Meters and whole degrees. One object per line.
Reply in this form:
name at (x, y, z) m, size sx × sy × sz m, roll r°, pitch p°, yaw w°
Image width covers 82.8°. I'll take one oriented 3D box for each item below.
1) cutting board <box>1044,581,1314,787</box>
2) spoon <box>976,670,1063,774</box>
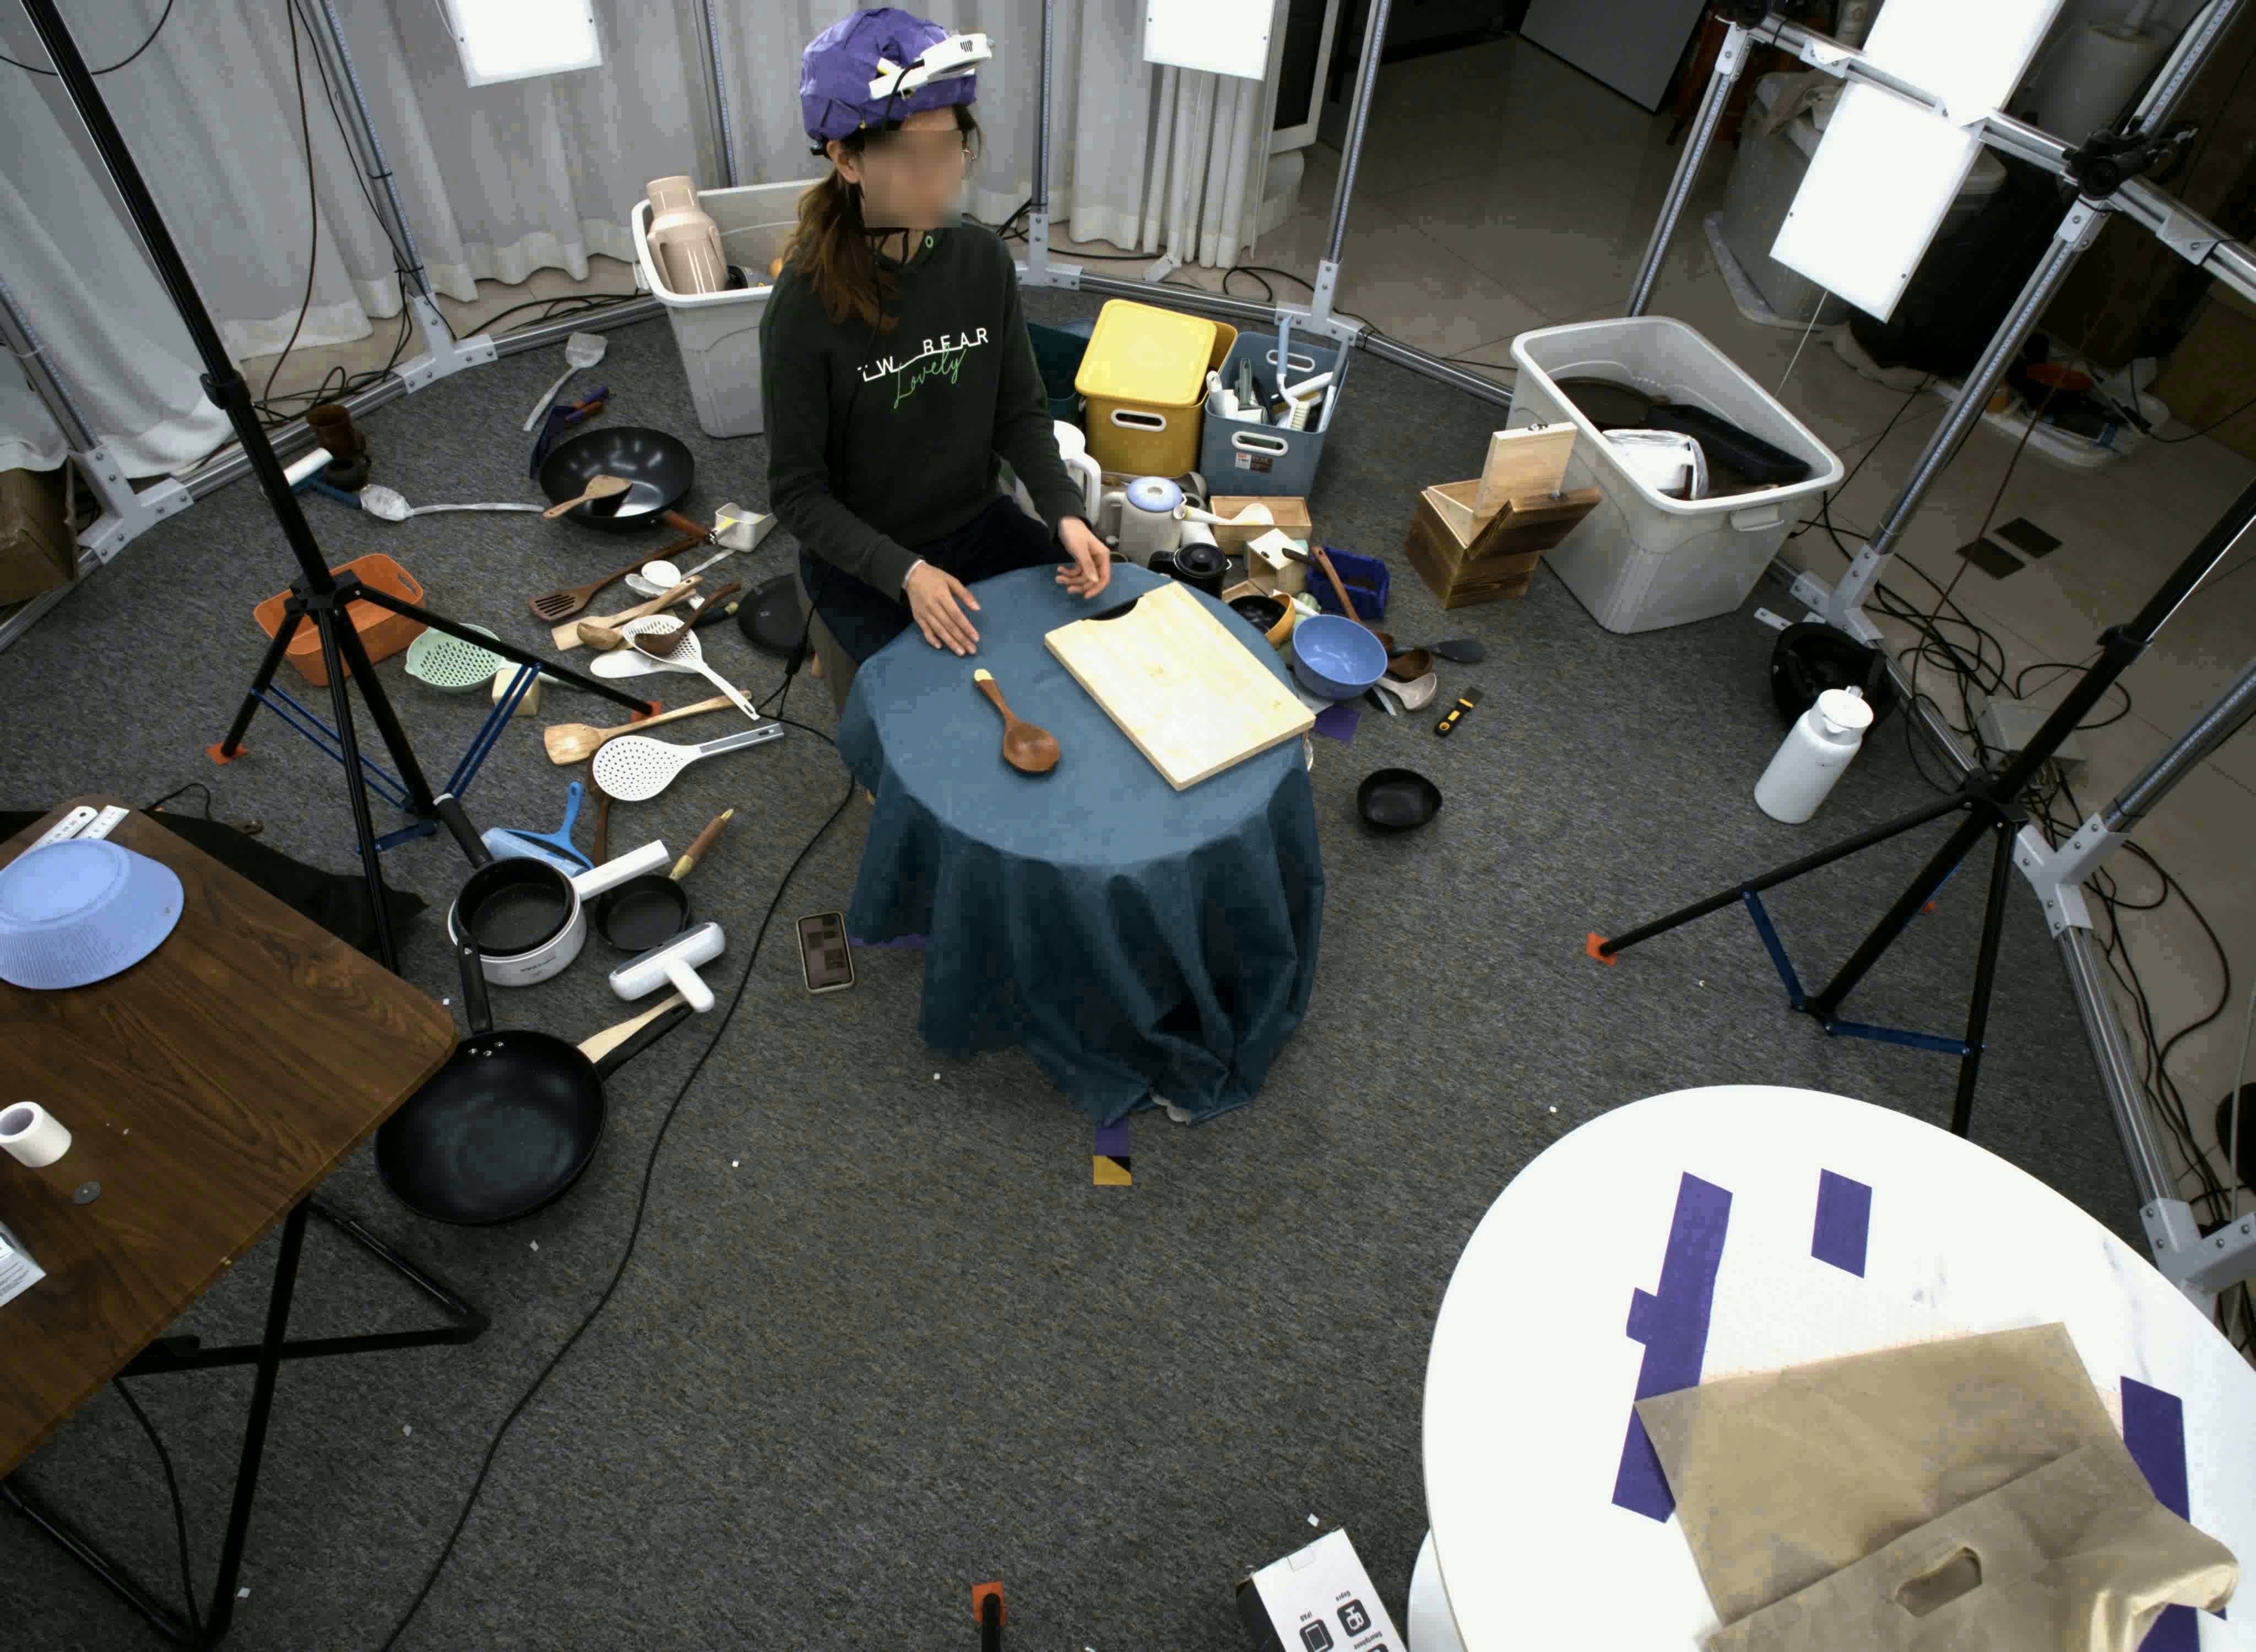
cutting board at (0.068, -0.215, 1.866) m, size 0.252 × 0.023 × 0.355 m, roll -26°, pitch 55°, yaw -24°
spoon at (-0.159, -0.146, 1.789) m, size 0.075 × 0.017 × 0.220 m, roll -21°, pitch 54°, yaw -19°
